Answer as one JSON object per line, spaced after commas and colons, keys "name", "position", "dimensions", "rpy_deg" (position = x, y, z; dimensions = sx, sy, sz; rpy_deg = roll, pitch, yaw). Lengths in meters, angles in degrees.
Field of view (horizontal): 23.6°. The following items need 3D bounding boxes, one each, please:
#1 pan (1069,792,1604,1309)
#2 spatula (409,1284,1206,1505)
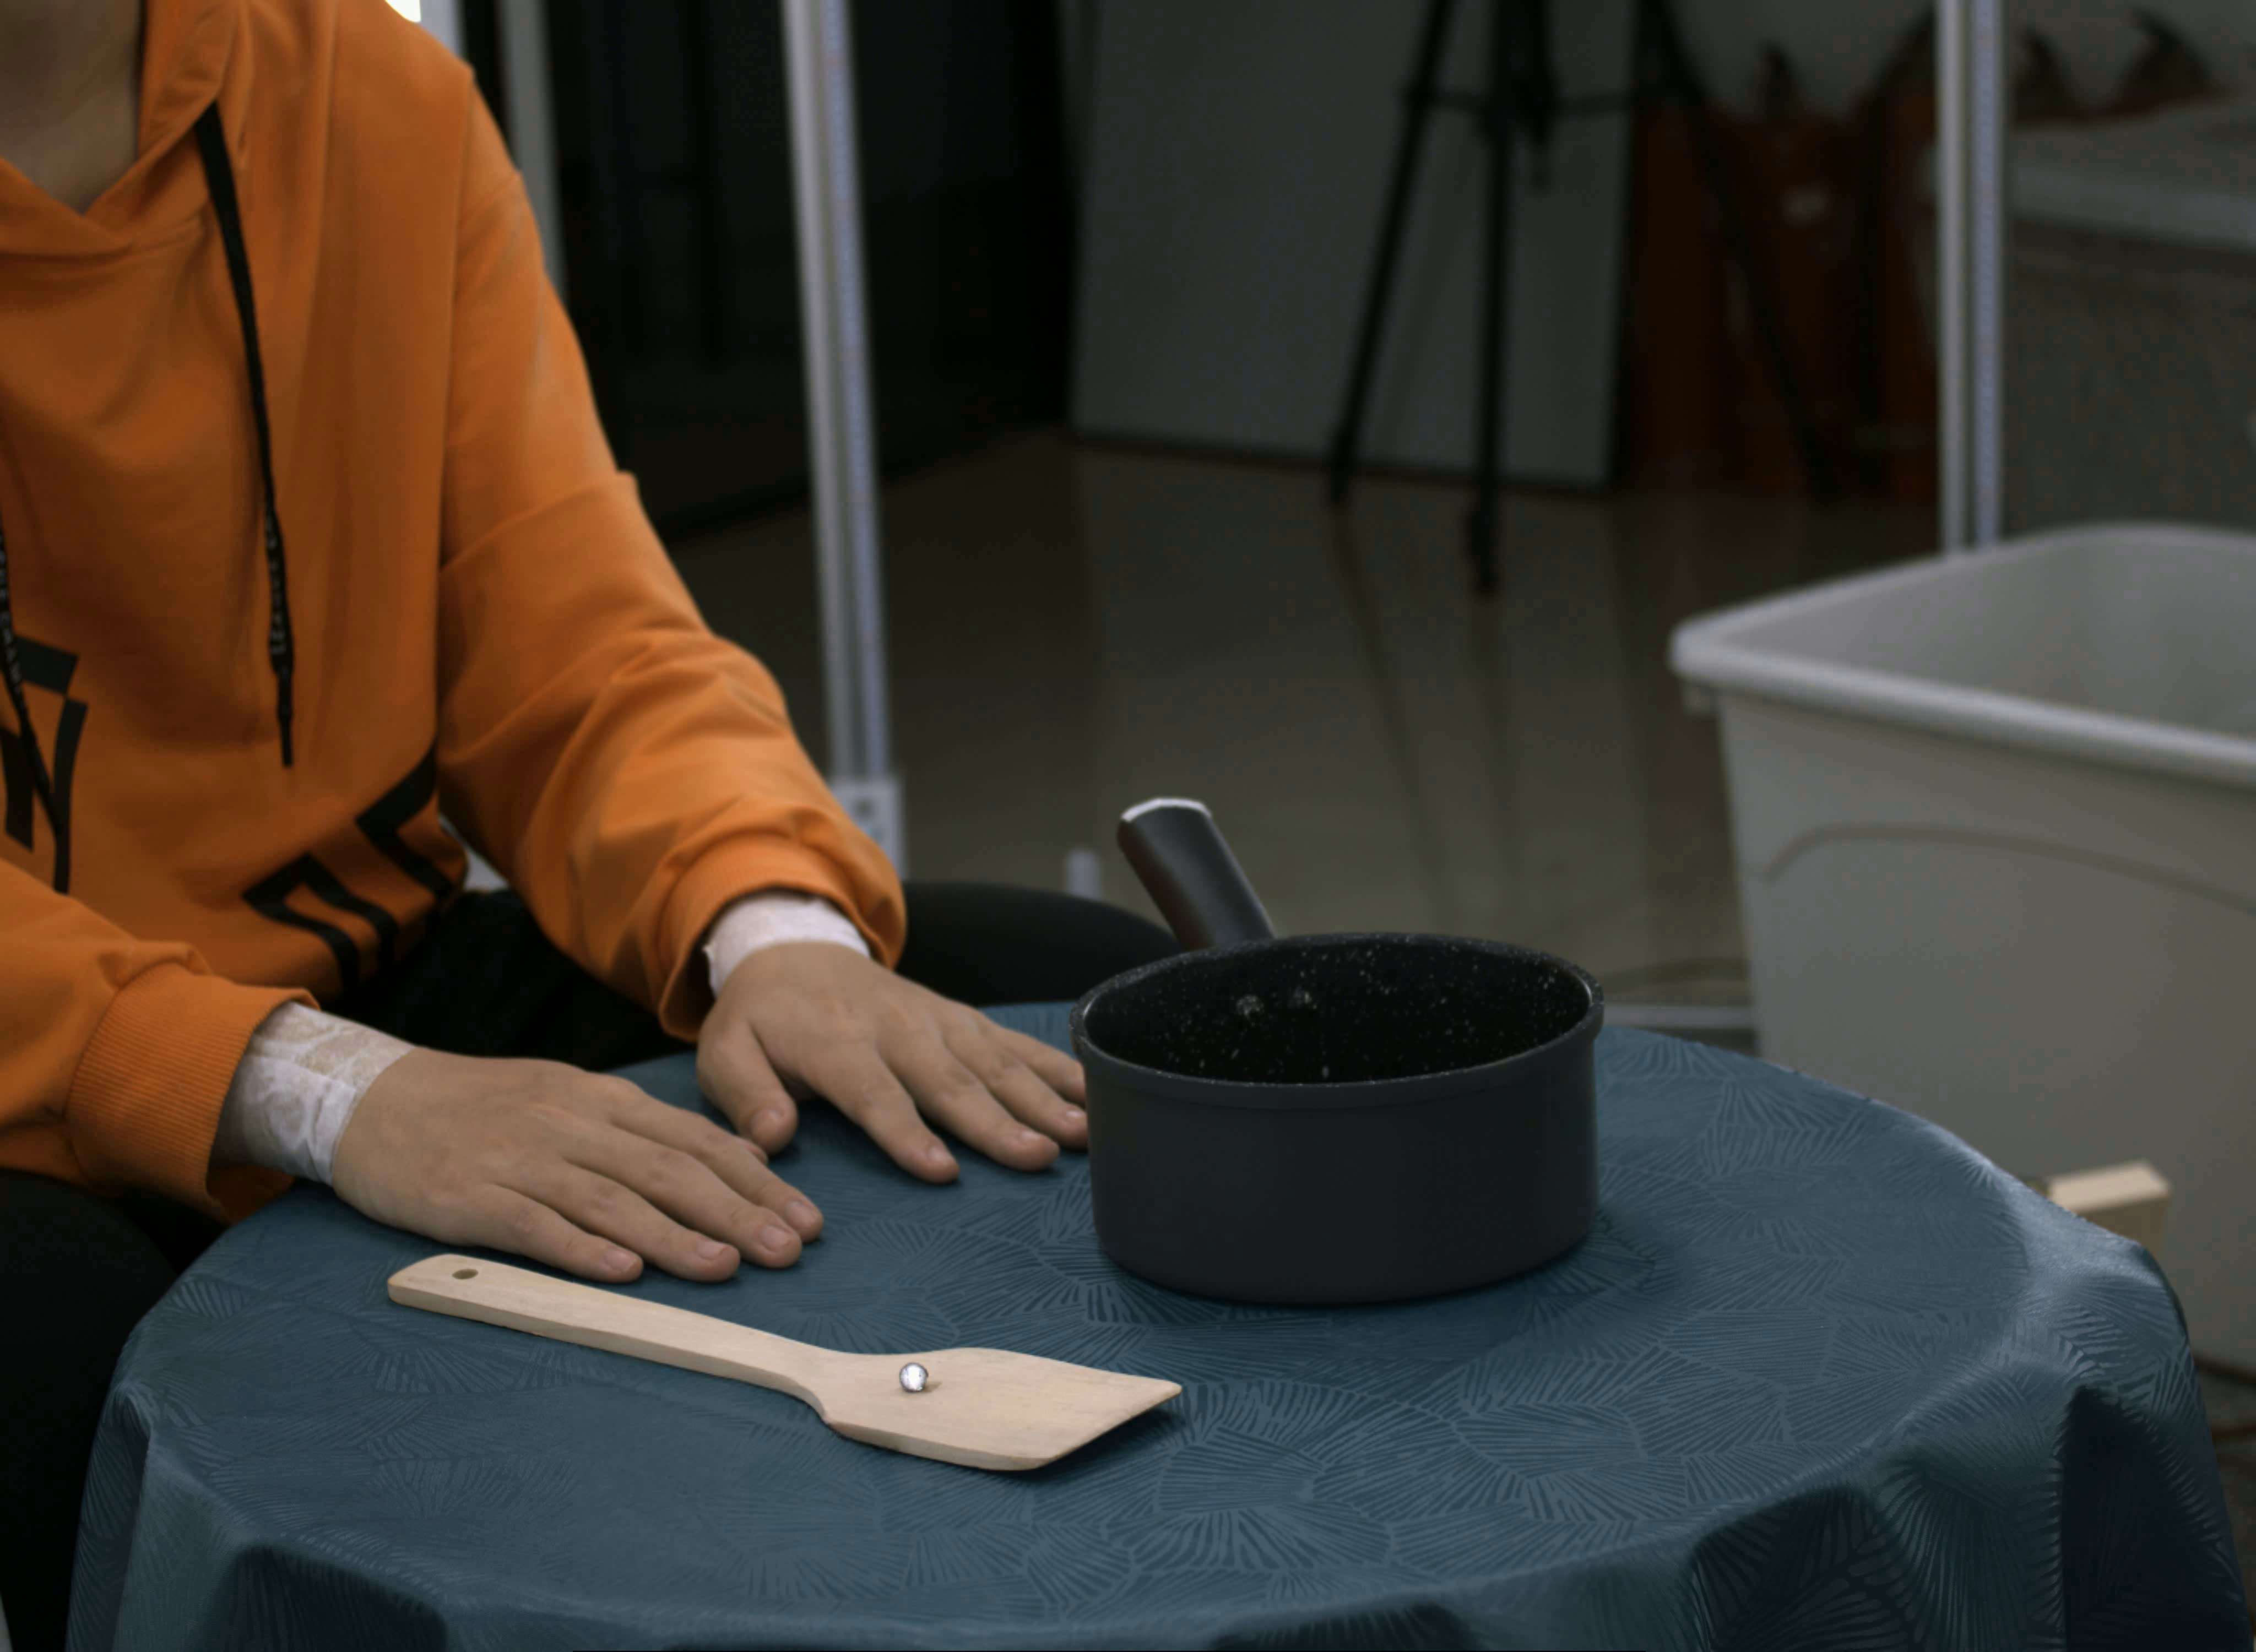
{"name": "pan", "position": [0.053, 0.070, 1.784], "dimensions": [0.169, 0.087, 0.330], "rpy_deg": [-5, 15, -9]}
{"name": "spatula", "position": [-0.109, 0.168, 1.630], "dimensions": [0.295, 0.011, 0.071], "rpy_deg": [7, 21, 39]}
